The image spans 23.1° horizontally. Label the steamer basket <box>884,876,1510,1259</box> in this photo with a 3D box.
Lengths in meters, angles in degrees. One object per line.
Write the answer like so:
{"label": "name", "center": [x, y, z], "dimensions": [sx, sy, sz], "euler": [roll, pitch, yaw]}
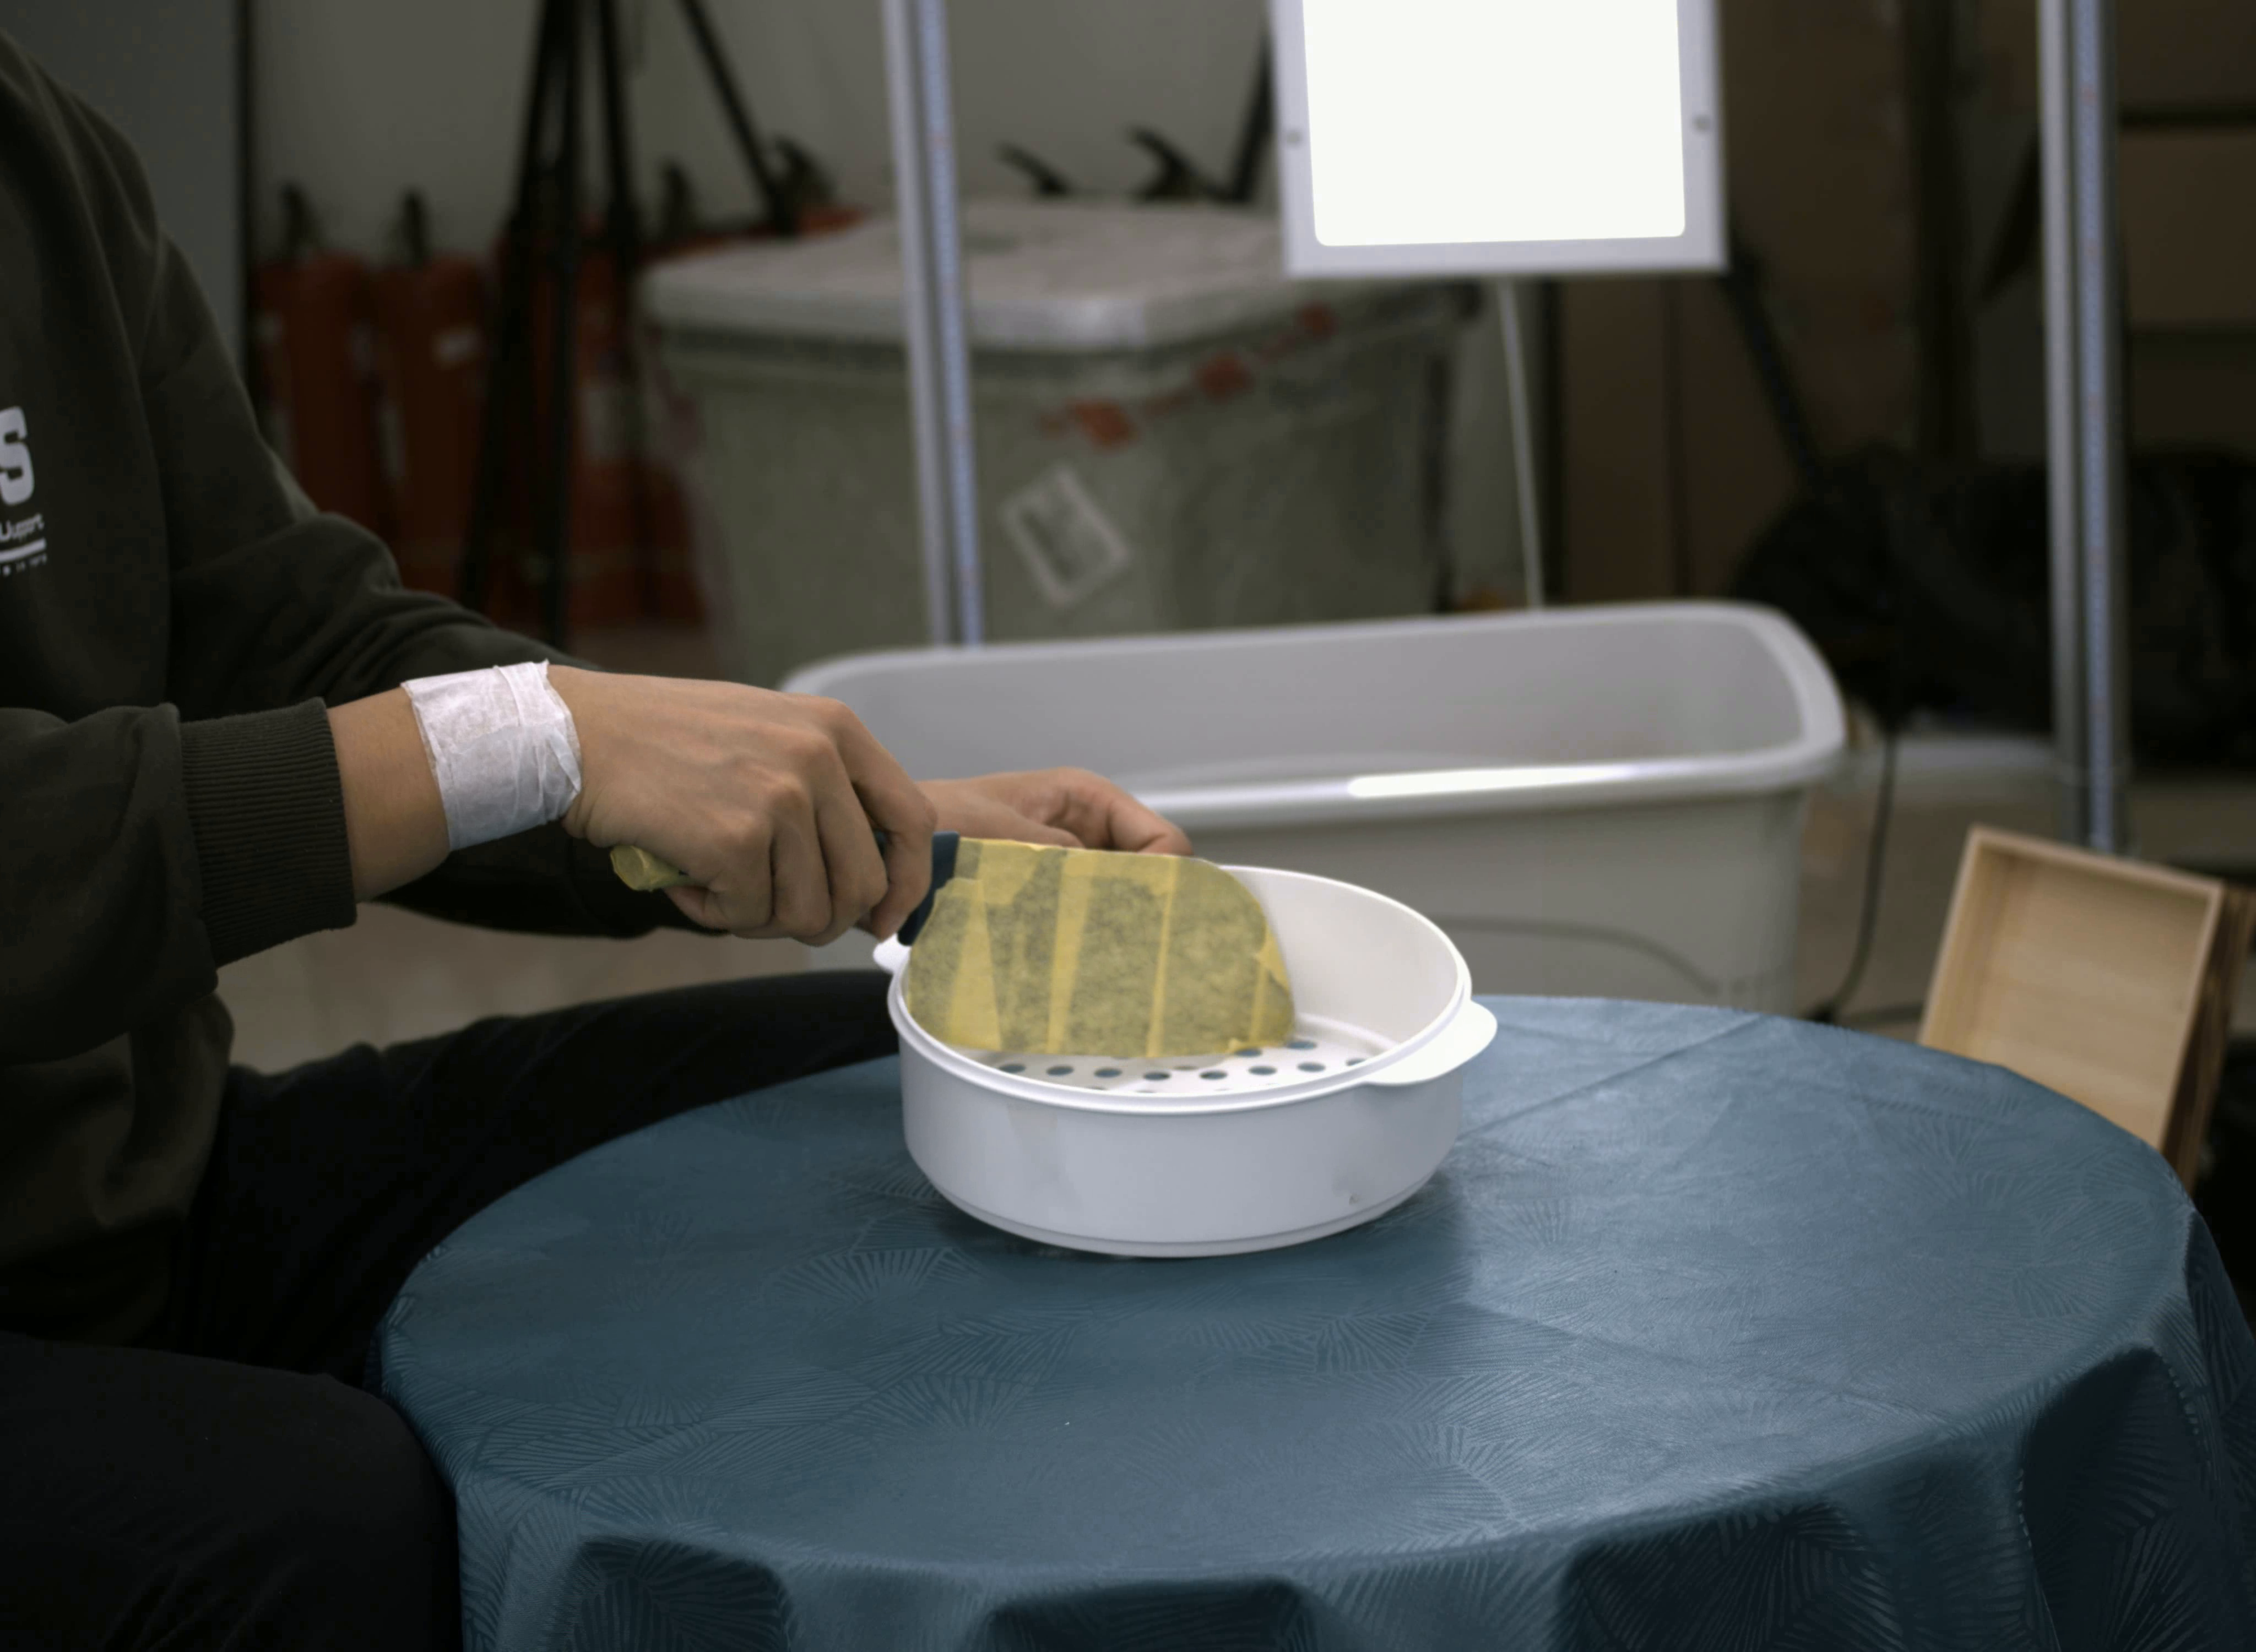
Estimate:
{"label": "steamer basket", "center": [0.023, 0.083, 1.896], "dimensions": [0.235, 0.069, 0.197], "euler": [11, 25, 32]}

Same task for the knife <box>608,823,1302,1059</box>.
{"label": "knife", "center": [-0.054, 0.039, 1.895], "dimensions": [0.283, 0.081, 0.028], "euler": [9, -3, -33]}
